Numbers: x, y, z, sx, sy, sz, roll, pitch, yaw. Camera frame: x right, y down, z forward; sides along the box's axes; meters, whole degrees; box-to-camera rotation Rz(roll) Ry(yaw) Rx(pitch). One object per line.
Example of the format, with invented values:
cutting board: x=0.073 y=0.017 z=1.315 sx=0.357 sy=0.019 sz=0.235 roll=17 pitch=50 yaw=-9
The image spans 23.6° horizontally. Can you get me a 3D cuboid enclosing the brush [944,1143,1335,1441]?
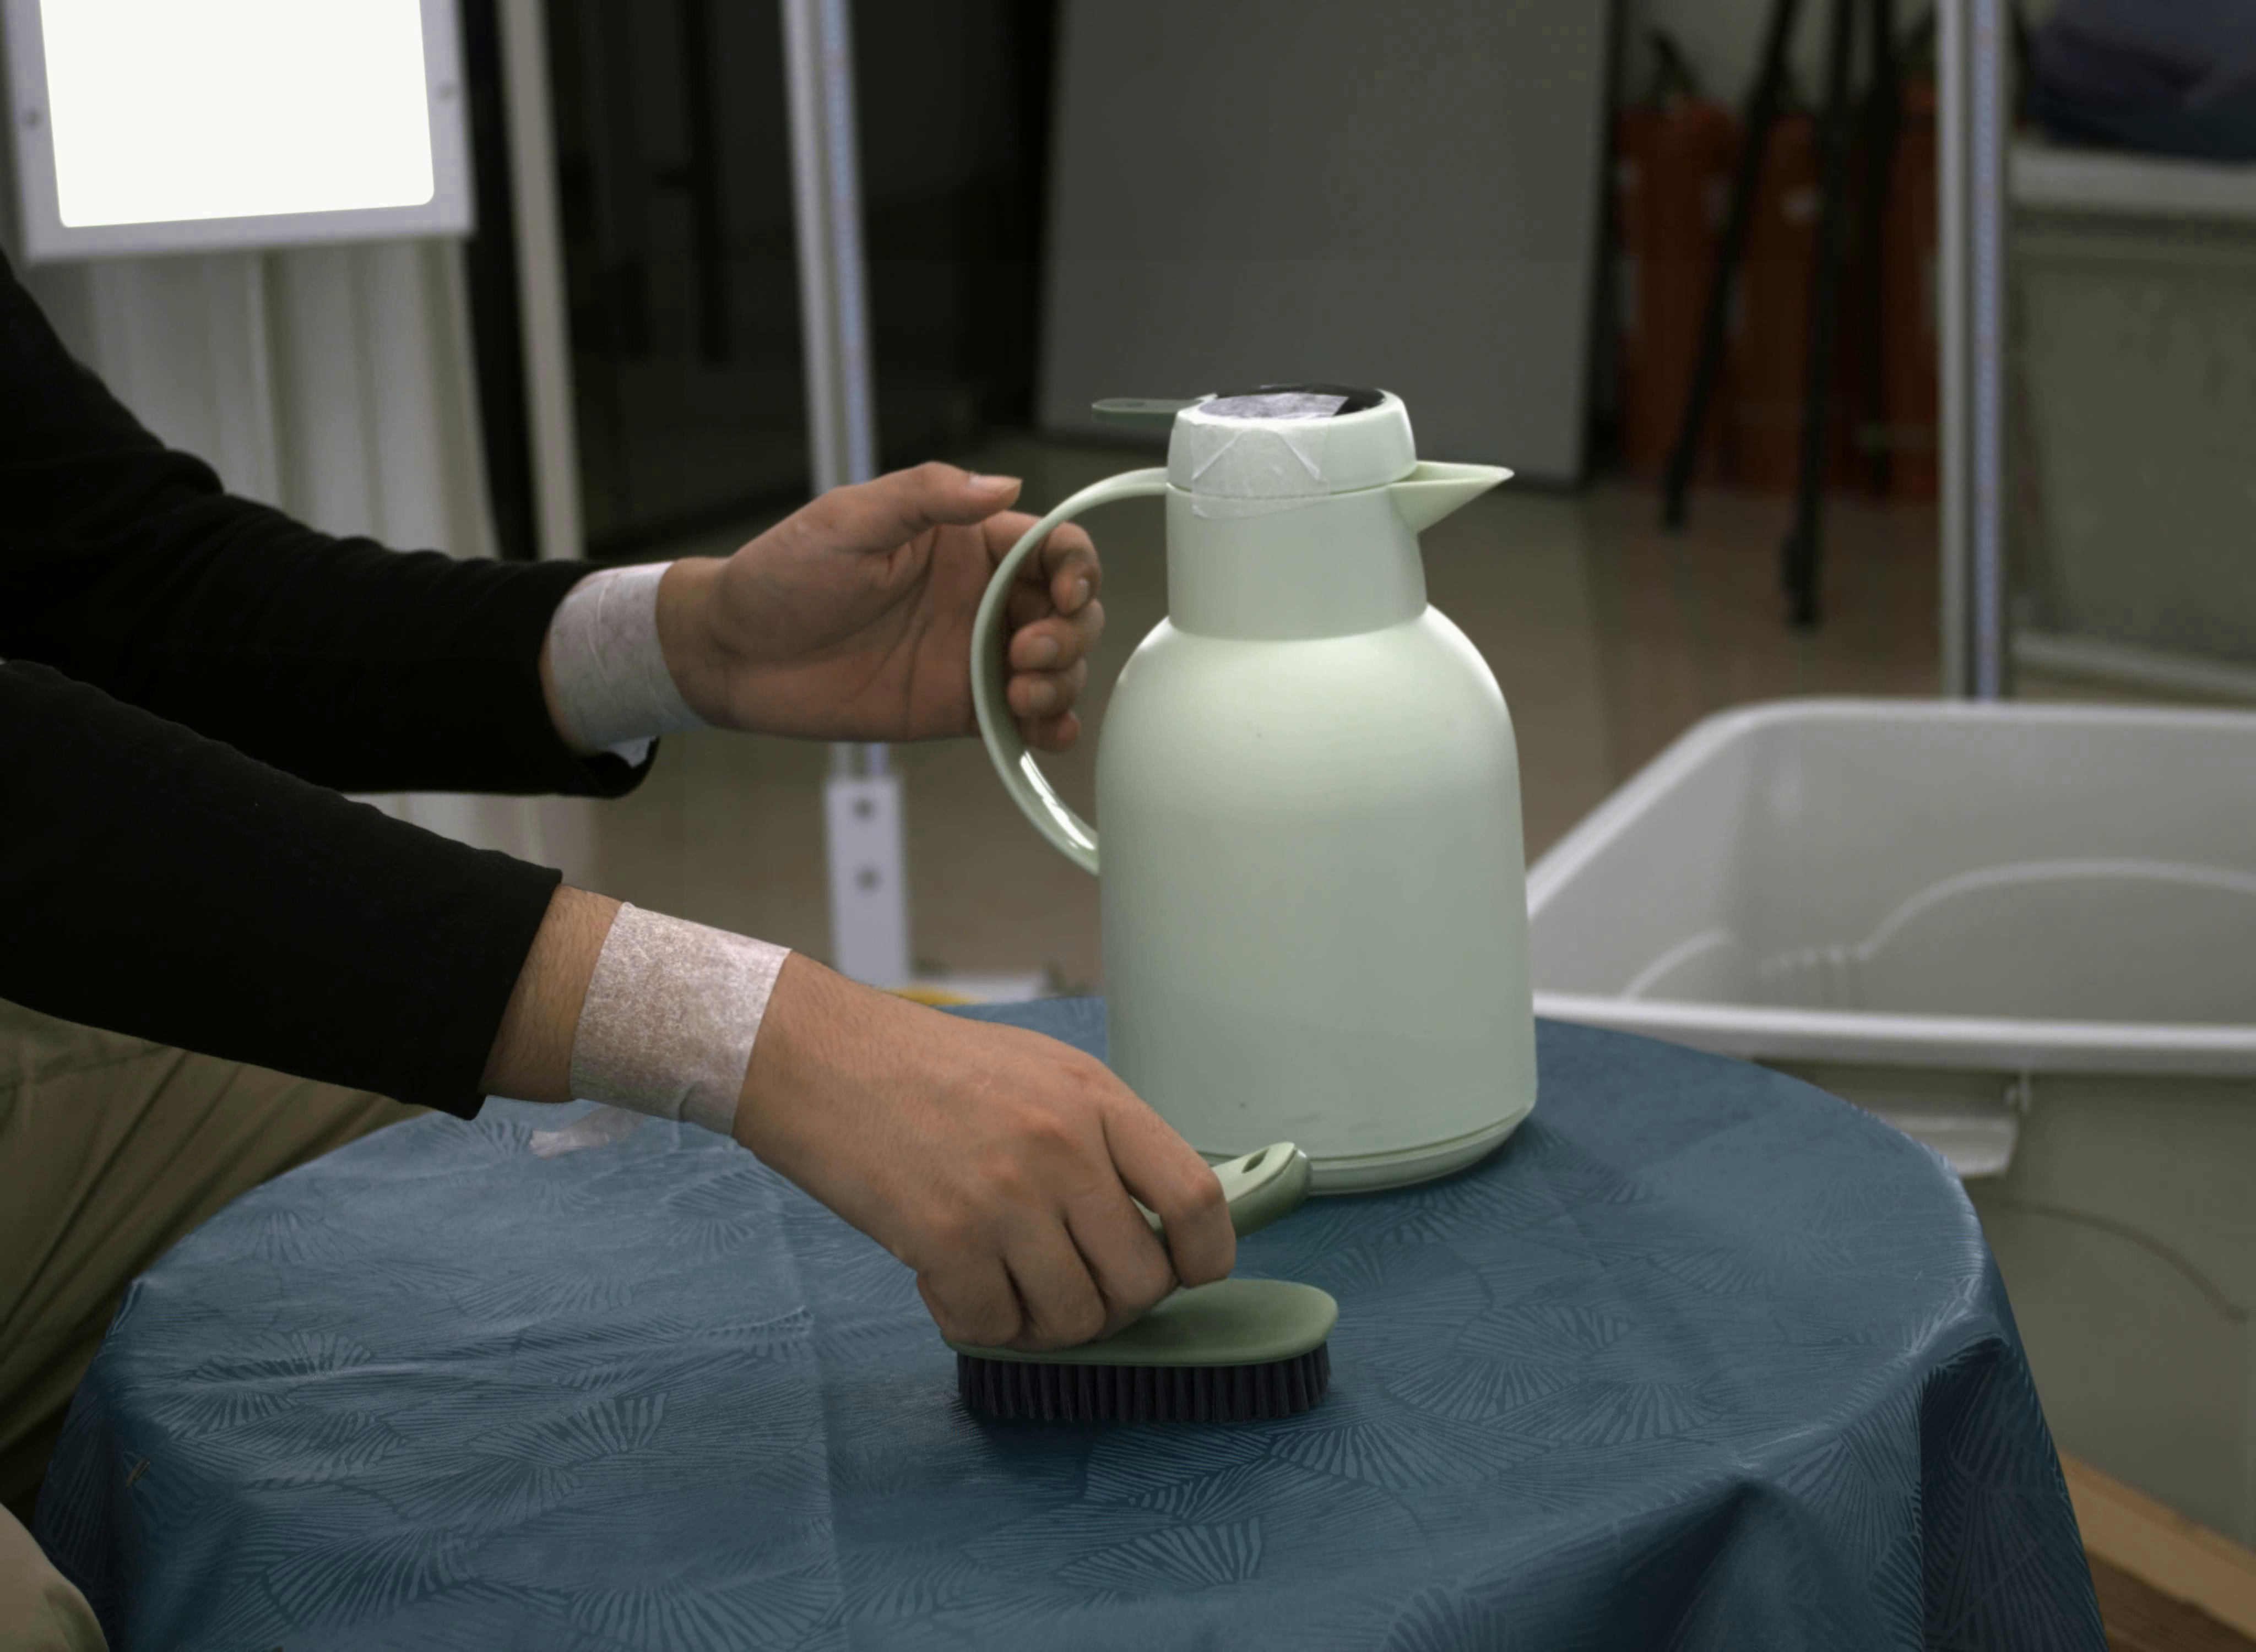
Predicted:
brush: x=0.004 y=0.144 z=1.581 sx=0.123 sy=0.076 sz=0.059 roll=-19 pitch=11 yaw=24

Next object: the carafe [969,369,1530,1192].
carafe: x=0.043 y=-0.019 z=1.781 sx=0.186 sy=0.259 sz=0.143 roll=-2 pitch=12 yaw=15
